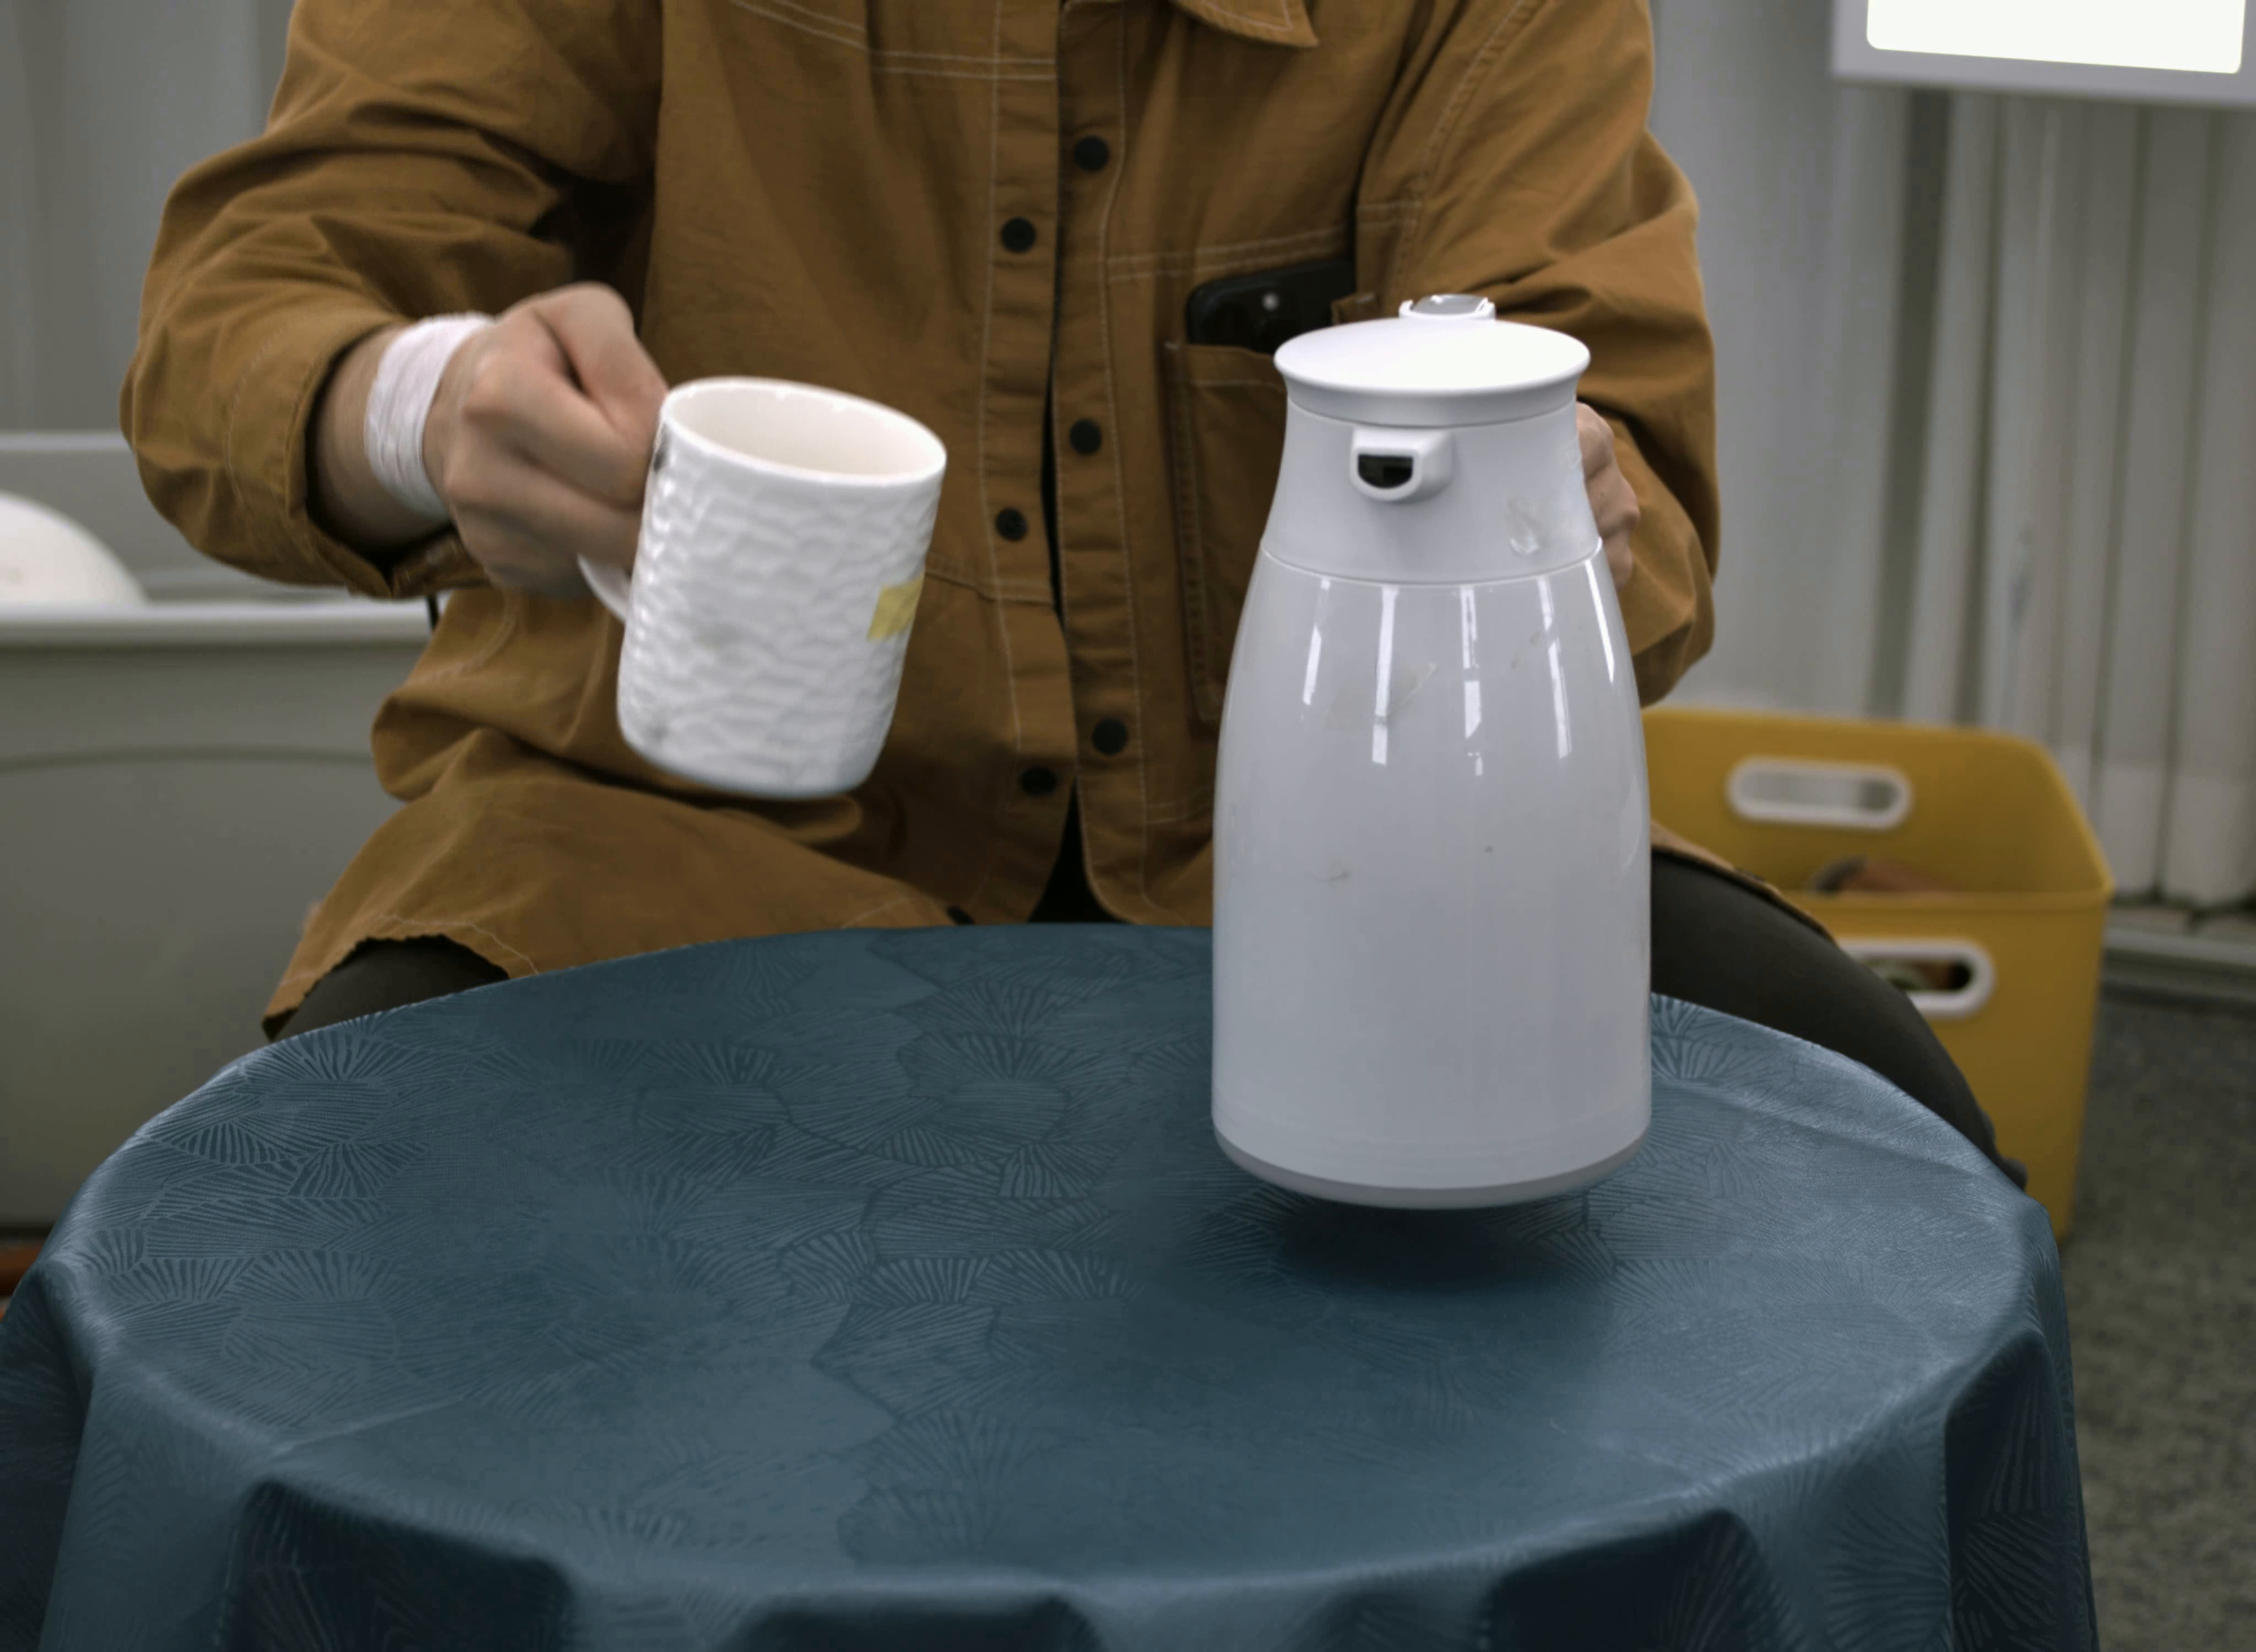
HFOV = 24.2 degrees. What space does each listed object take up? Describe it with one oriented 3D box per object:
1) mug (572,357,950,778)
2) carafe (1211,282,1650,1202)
[{"bbox_3d":[-0.117,-0.082,1.557,0.117,0.103,0.085,24,24,26],"label":"mug"},{"bbox_3d":[0.092,-0.034,1.566,0.131,0.251,0.167,3,18,13],"label":"carafe"}]
